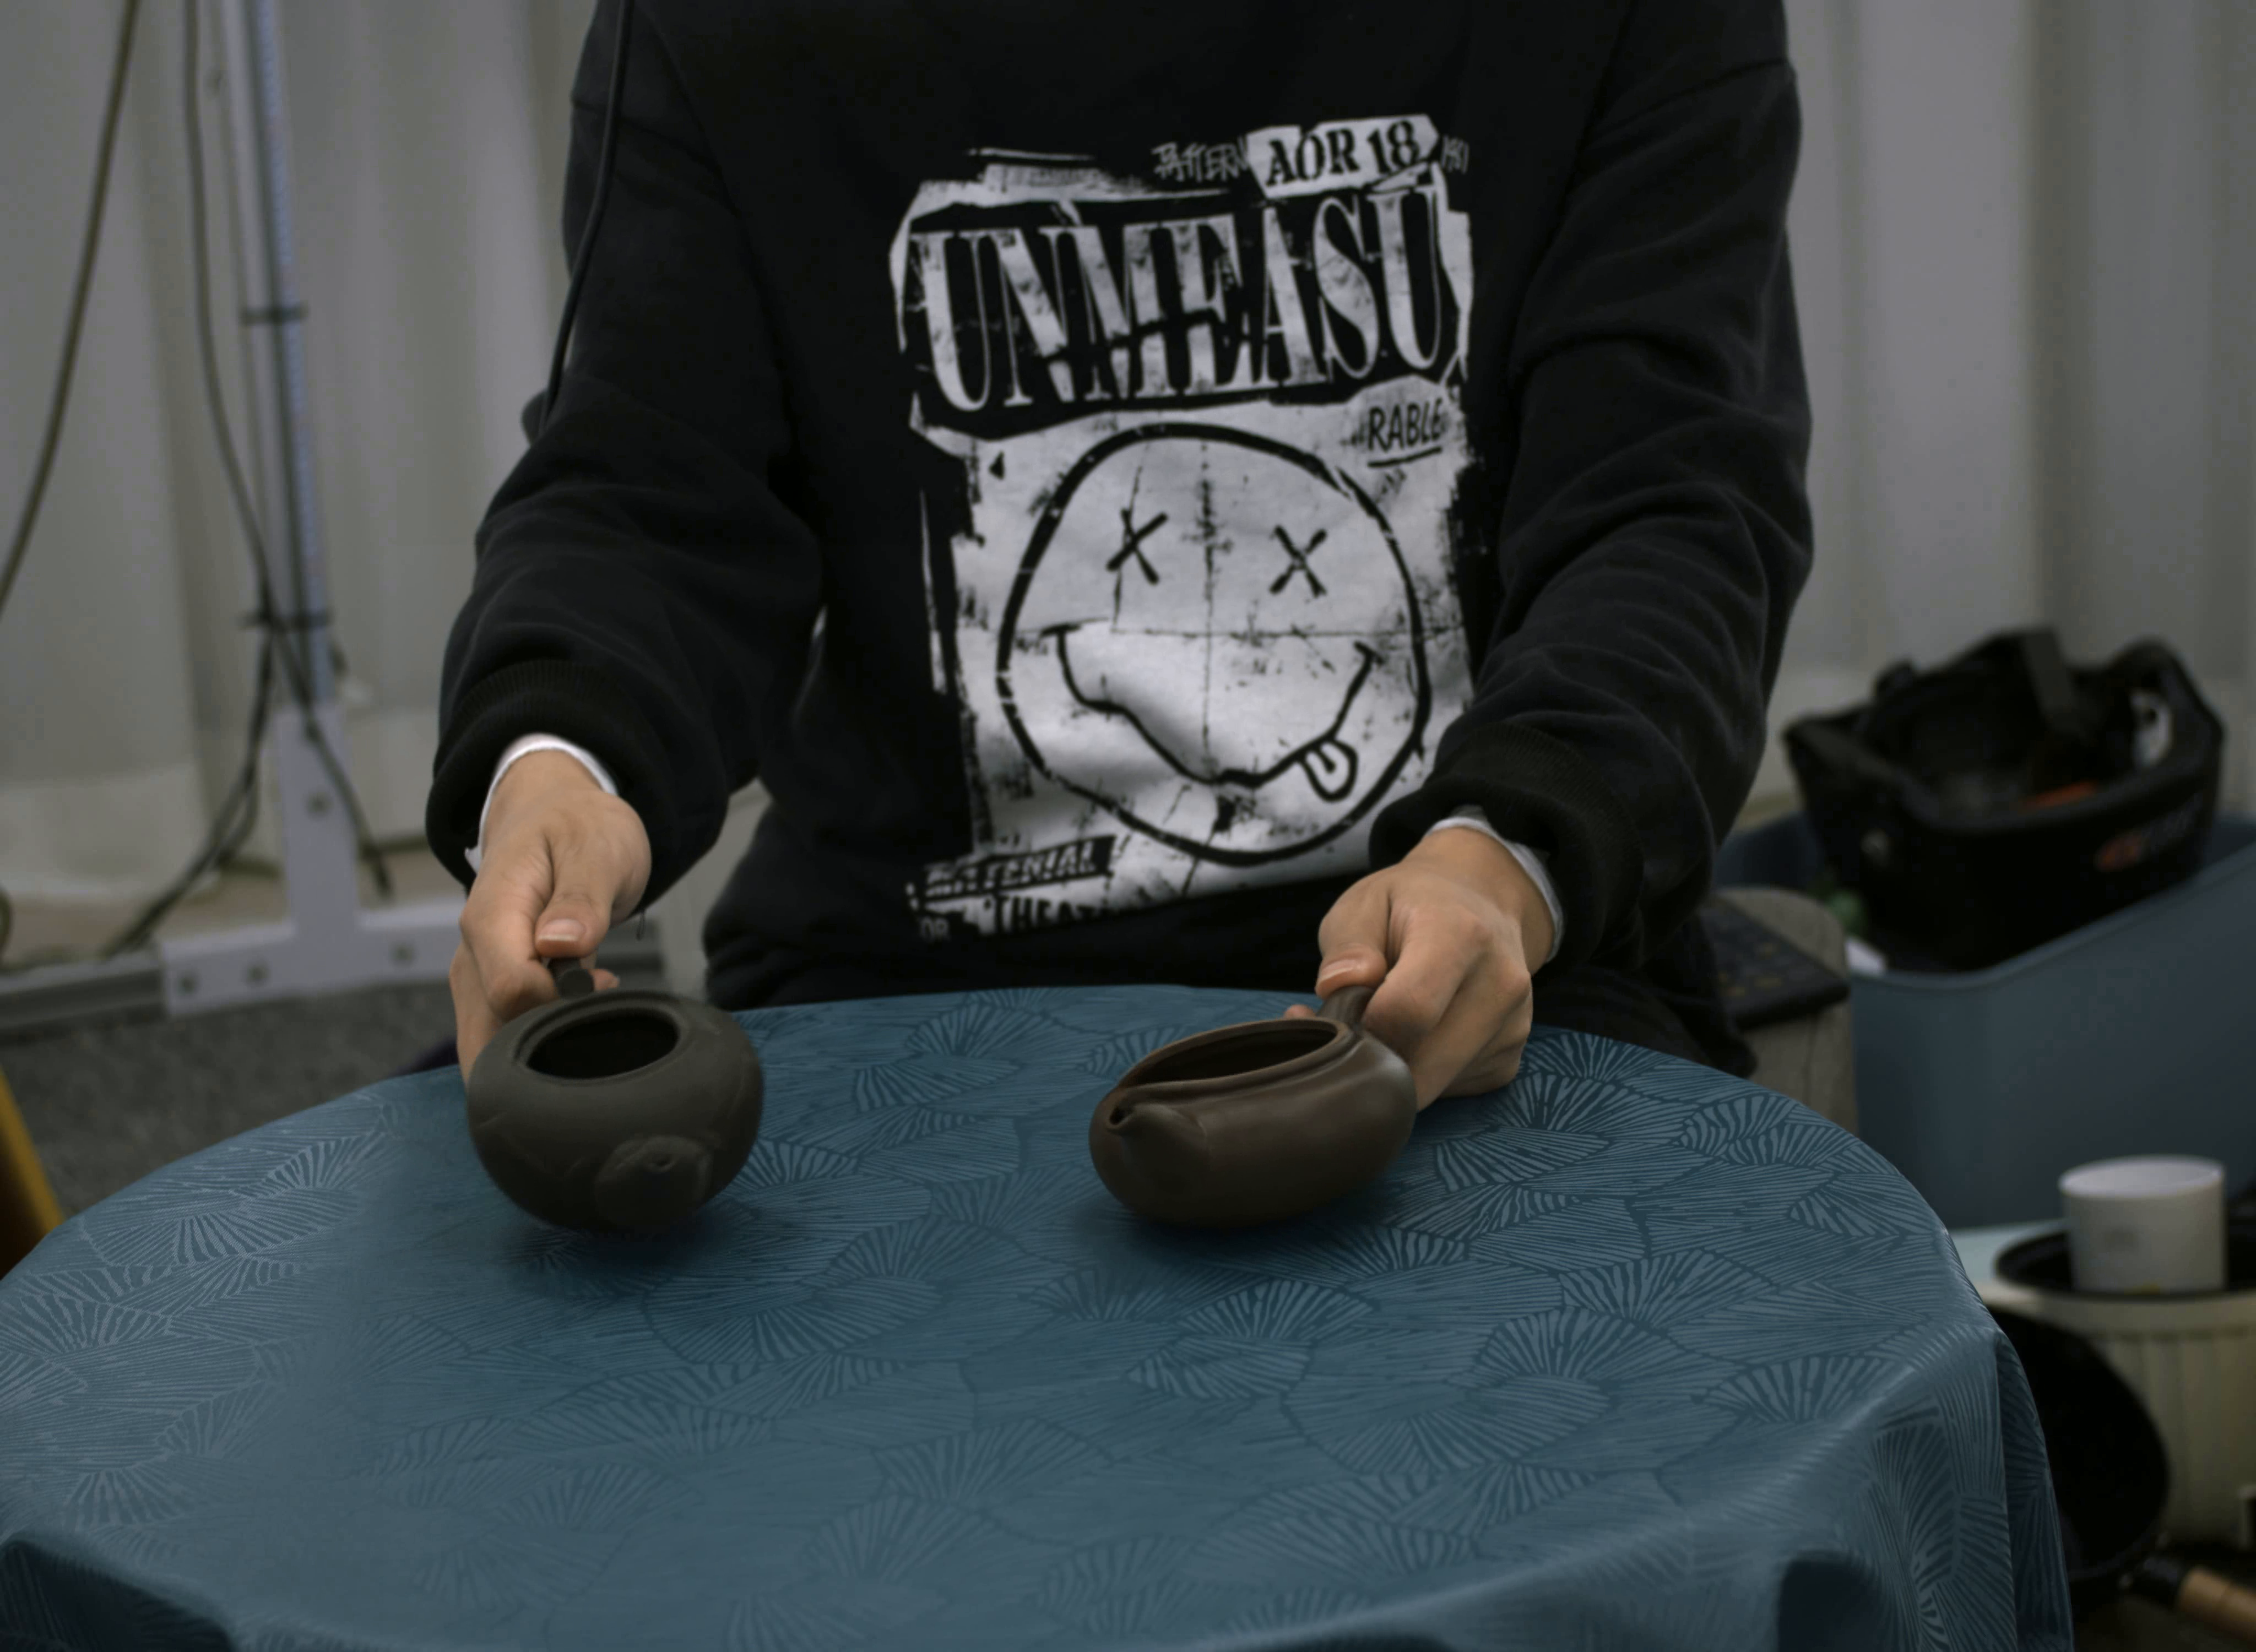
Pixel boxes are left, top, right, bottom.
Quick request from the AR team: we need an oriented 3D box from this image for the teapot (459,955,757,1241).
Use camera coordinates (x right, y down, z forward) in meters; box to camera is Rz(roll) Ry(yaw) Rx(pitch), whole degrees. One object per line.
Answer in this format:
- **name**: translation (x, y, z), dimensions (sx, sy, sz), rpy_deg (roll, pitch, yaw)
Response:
- **teapot**: translation (-0.161, 0.088, 1.695), dimensions (0.092, 0.064, 0.156), rpy_deg (-11, 27, -11)

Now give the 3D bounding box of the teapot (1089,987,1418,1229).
- **teapot**: translation (0.040, 0.089, 1.686), dimensions (0.102, 0.053, 0.154), rpy_deg (-3, 14, 29)
